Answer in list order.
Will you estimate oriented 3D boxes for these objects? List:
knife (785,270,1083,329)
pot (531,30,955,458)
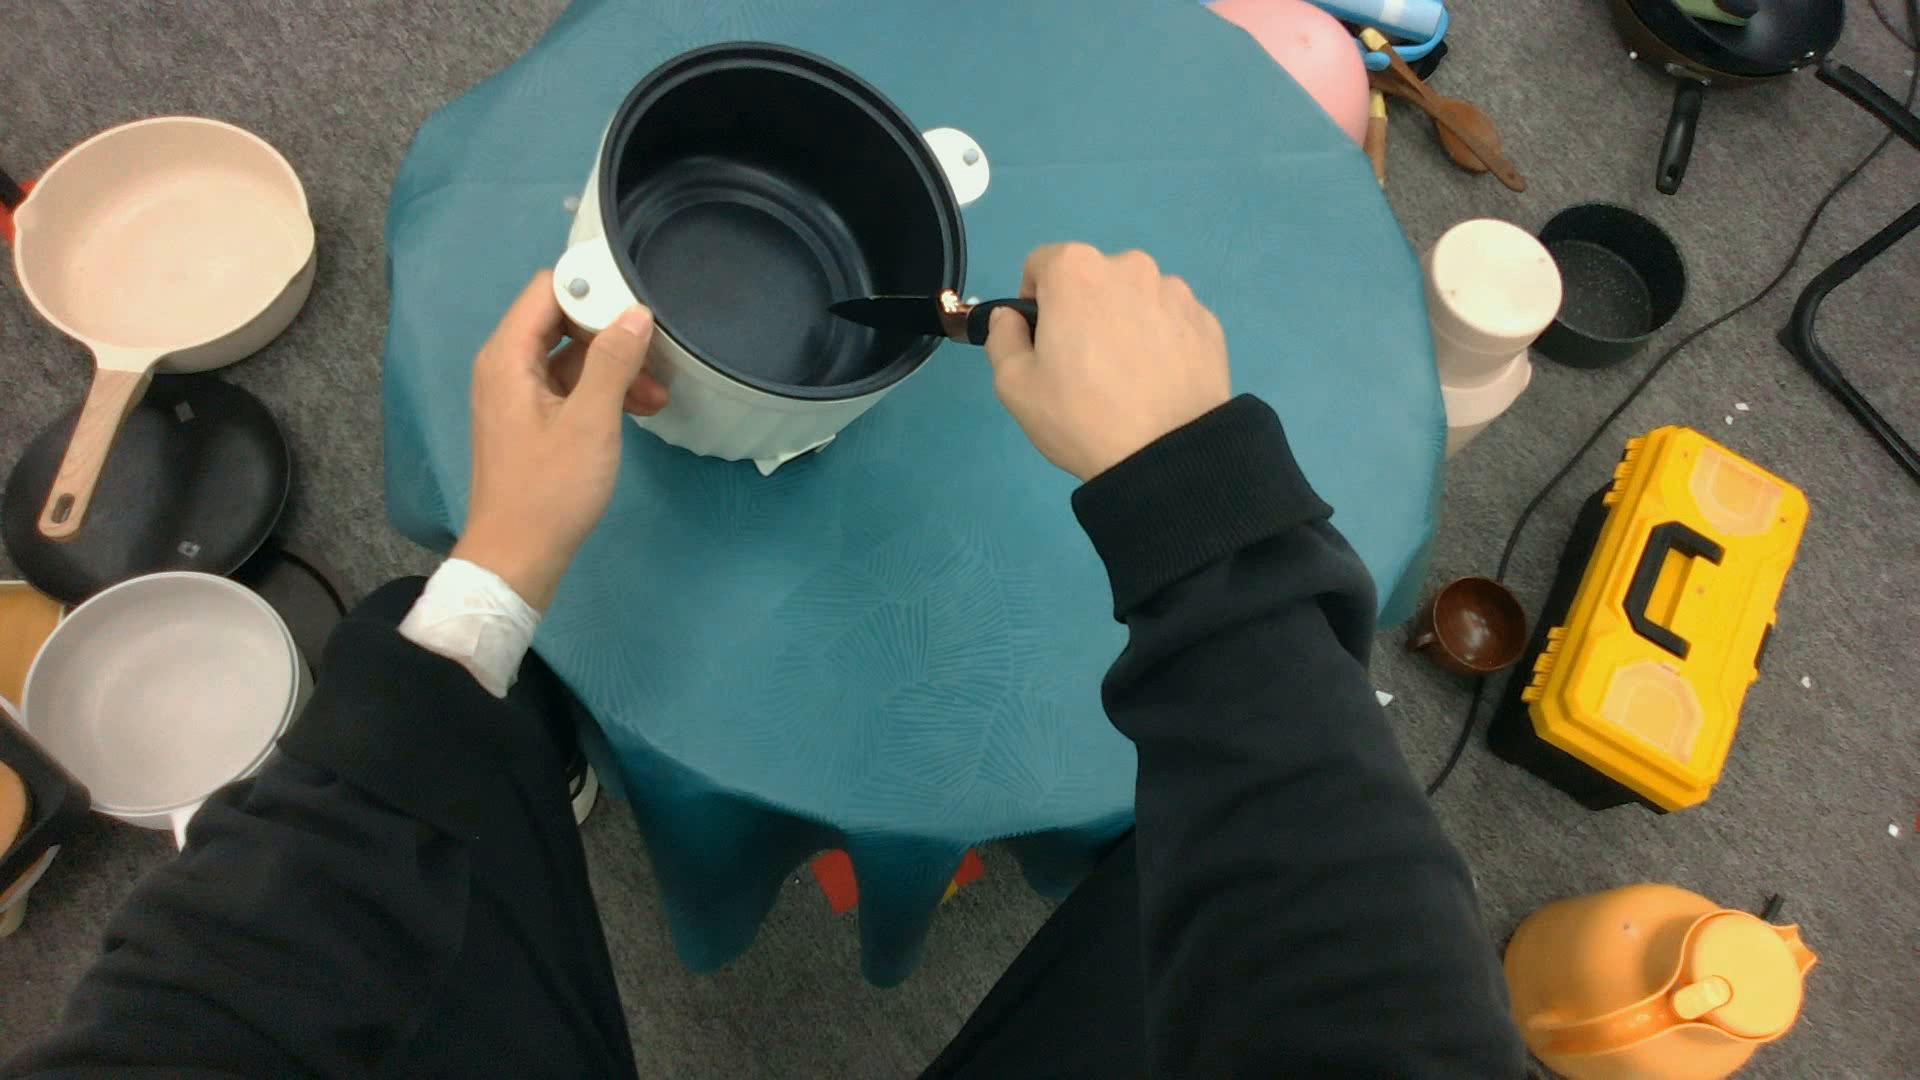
[{"bbox_3d":[-0.022,-0.114,0.645,0.017,0.225,0.026,-50,125,-18],"label":"knife"},{"bbox_3d":[-0.126,-0.146,0.701,0.241,0.142,0.190,-31,95,-34],"label":"pot"}]
